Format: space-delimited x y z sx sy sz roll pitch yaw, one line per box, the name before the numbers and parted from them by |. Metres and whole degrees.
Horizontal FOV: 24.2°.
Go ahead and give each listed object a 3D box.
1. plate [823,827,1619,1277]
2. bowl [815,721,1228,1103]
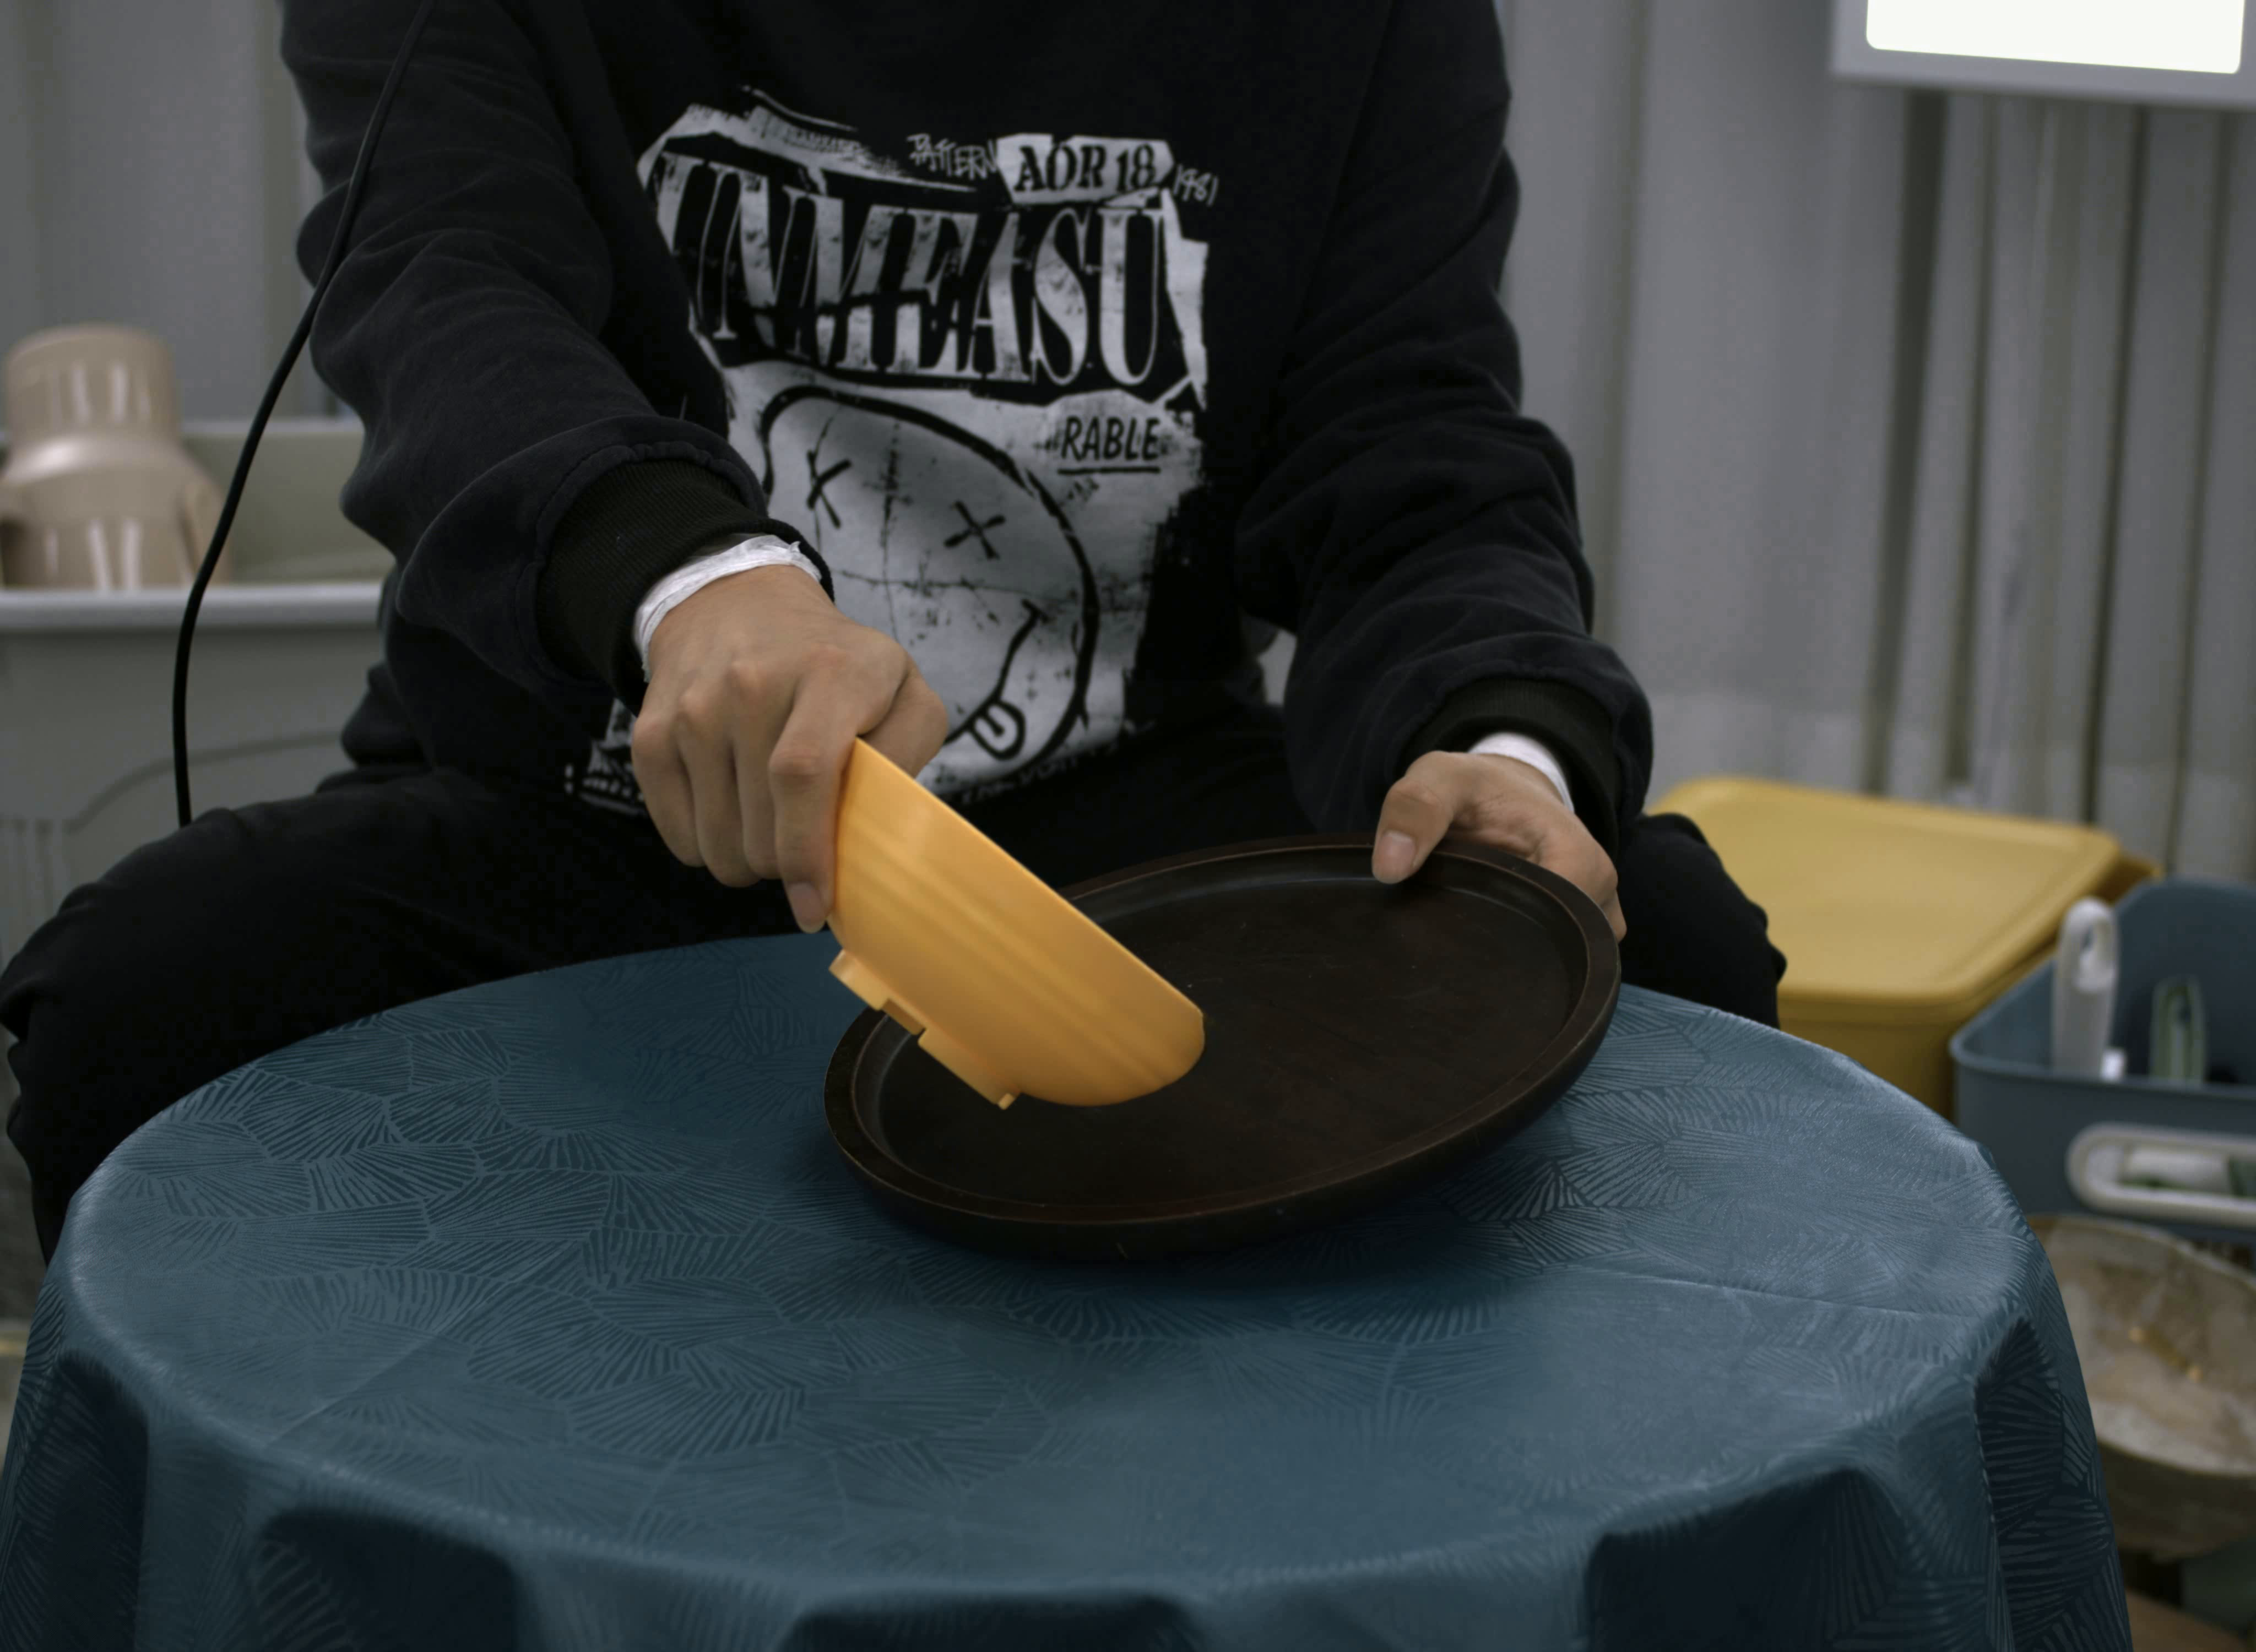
plate | 0.030 0.068 1.643 0.253 0.029 0.253 -12 25 6
bowl | -0.043 0.038 1.534 0.145 0.060 0.145 40 -1 2
